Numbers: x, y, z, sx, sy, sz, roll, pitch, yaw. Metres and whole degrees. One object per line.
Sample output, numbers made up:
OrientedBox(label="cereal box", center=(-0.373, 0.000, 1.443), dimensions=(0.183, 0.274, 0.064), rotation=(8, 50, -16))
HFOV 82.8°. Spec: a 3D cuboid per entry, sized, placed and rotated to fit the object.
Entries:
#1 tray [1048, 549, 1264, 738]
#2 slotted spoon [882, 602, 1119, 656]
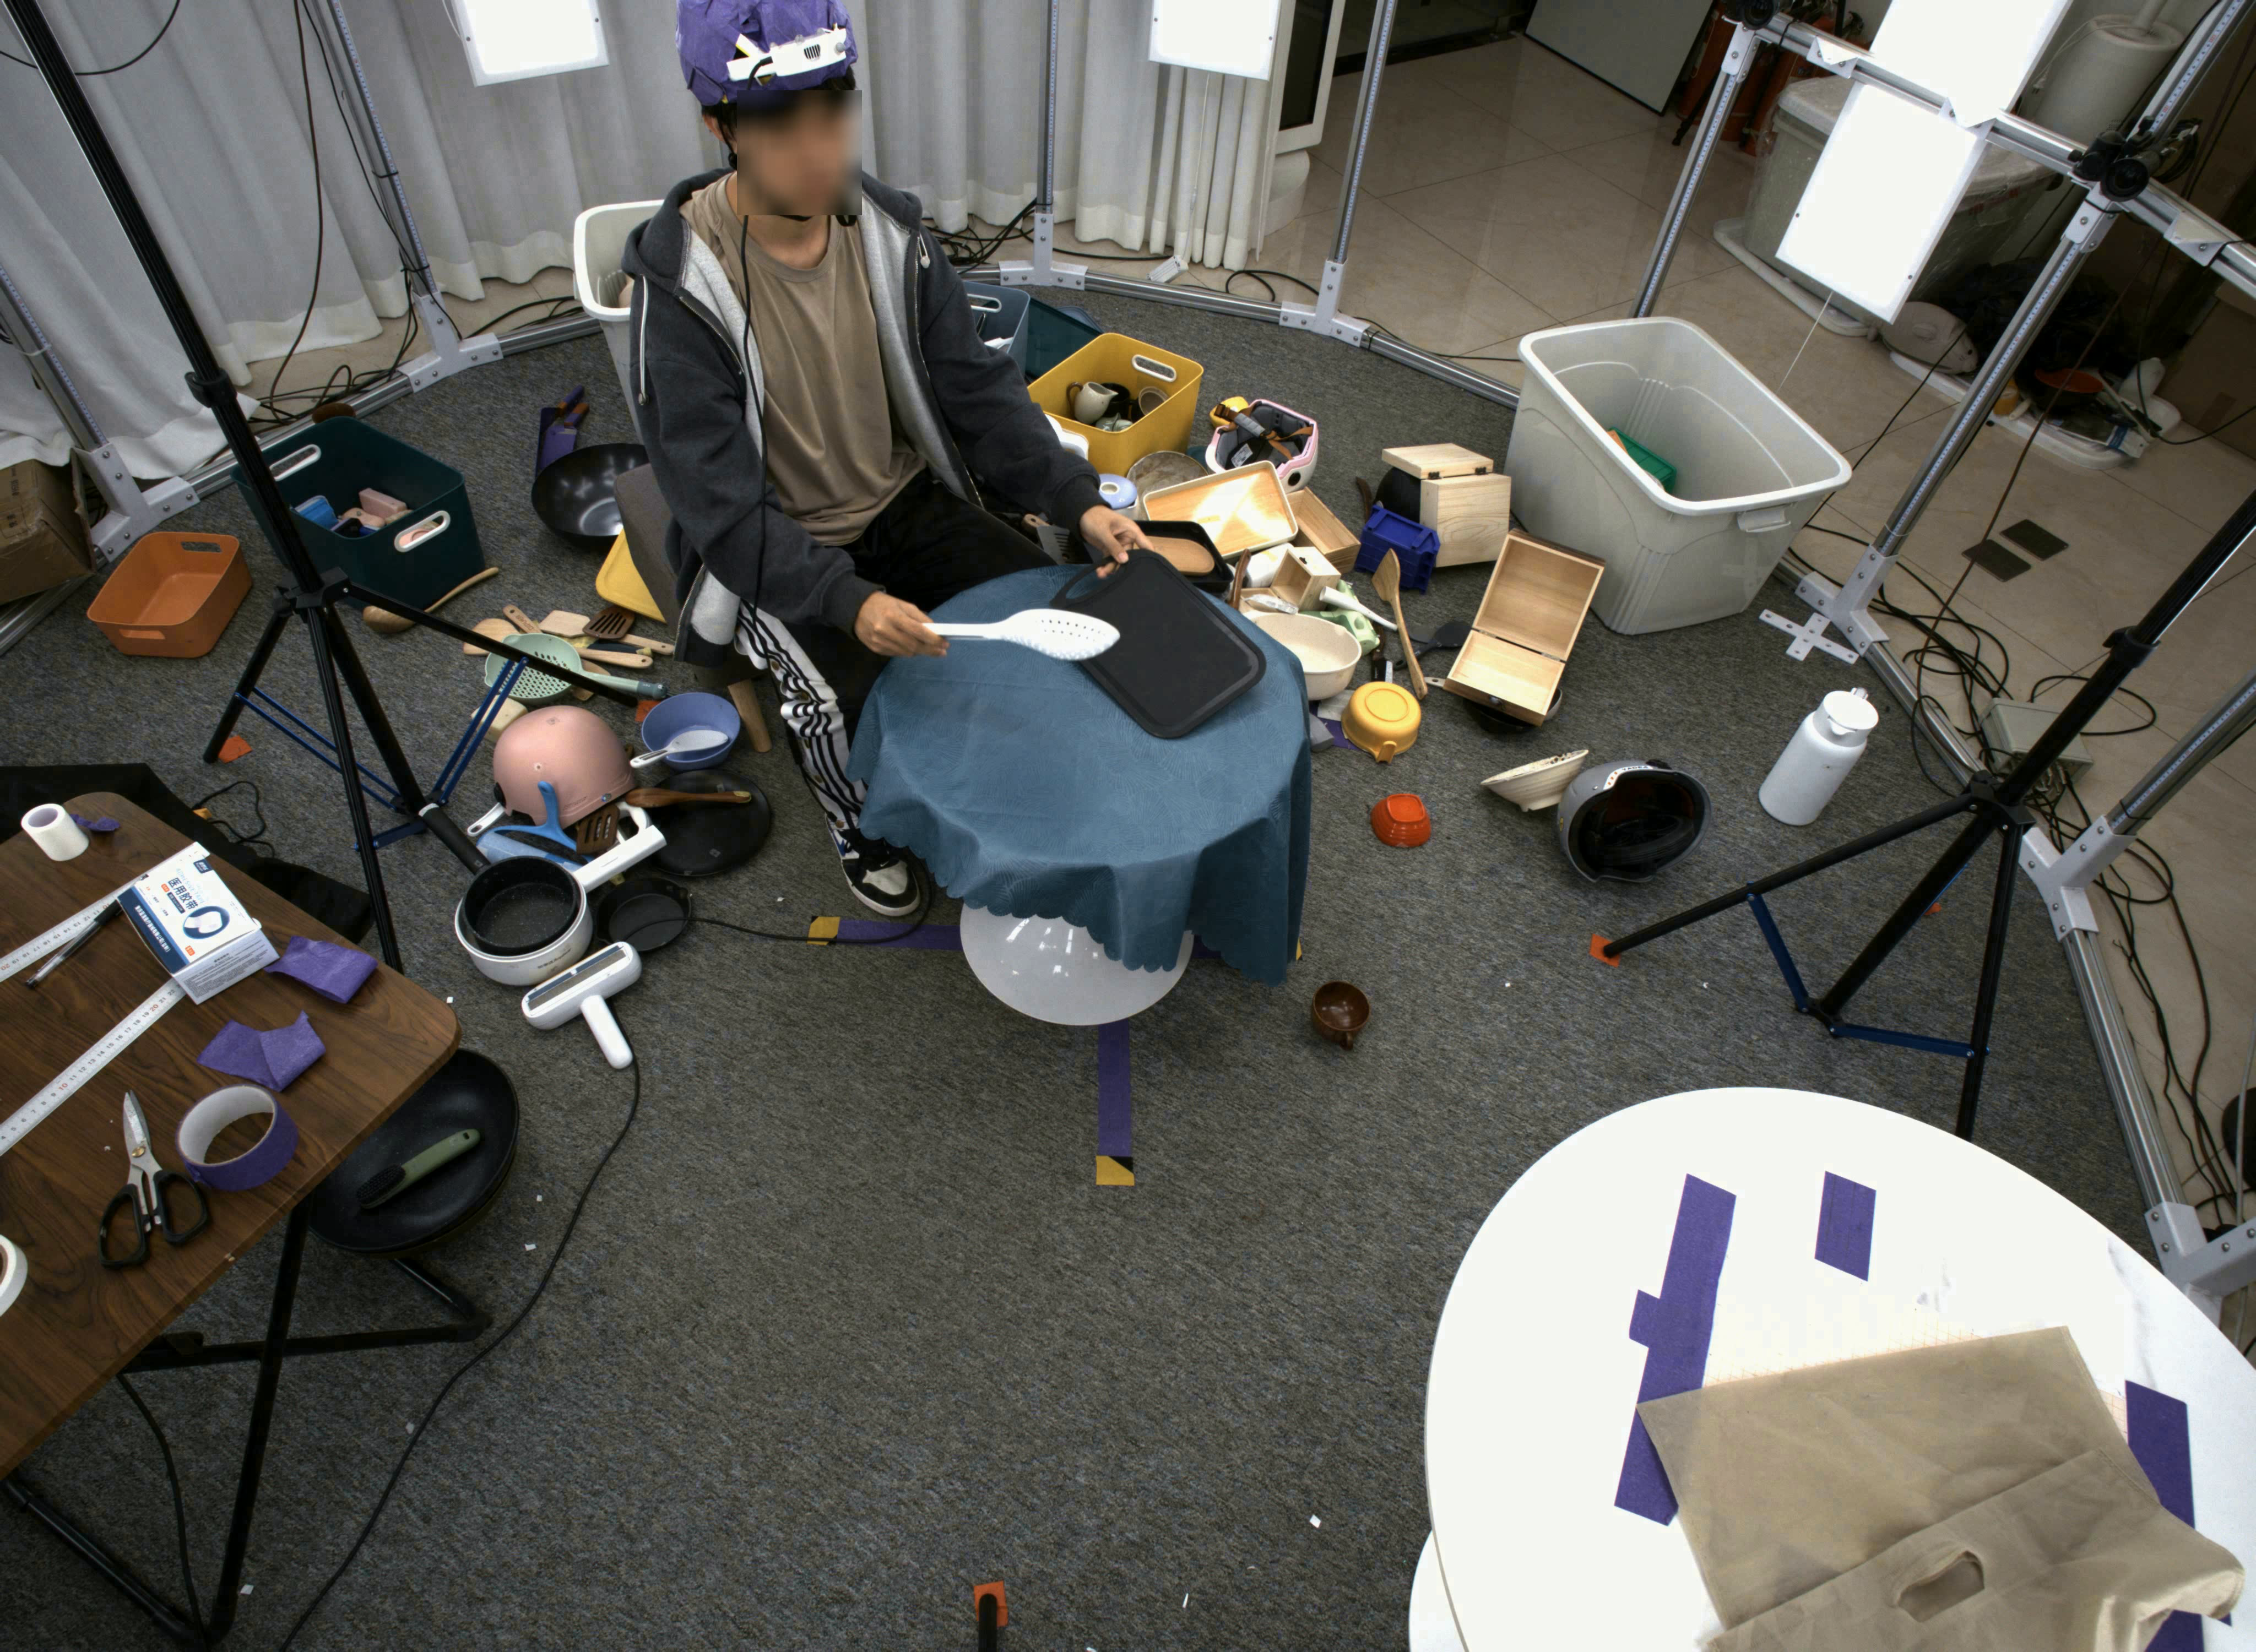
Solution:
OrientedBox(label="tray", center=(0.031, -0.275, 1.860), dimensions=(0.212, 0.009, 0.331), rotation=(-35, 64, -14))
OrientedBox(label="slotted spoon", center=(-0.175, -0.260, 1.685), dimensions=(0.352, 0.134, 0.046), rotation=(10, 82, 28))
